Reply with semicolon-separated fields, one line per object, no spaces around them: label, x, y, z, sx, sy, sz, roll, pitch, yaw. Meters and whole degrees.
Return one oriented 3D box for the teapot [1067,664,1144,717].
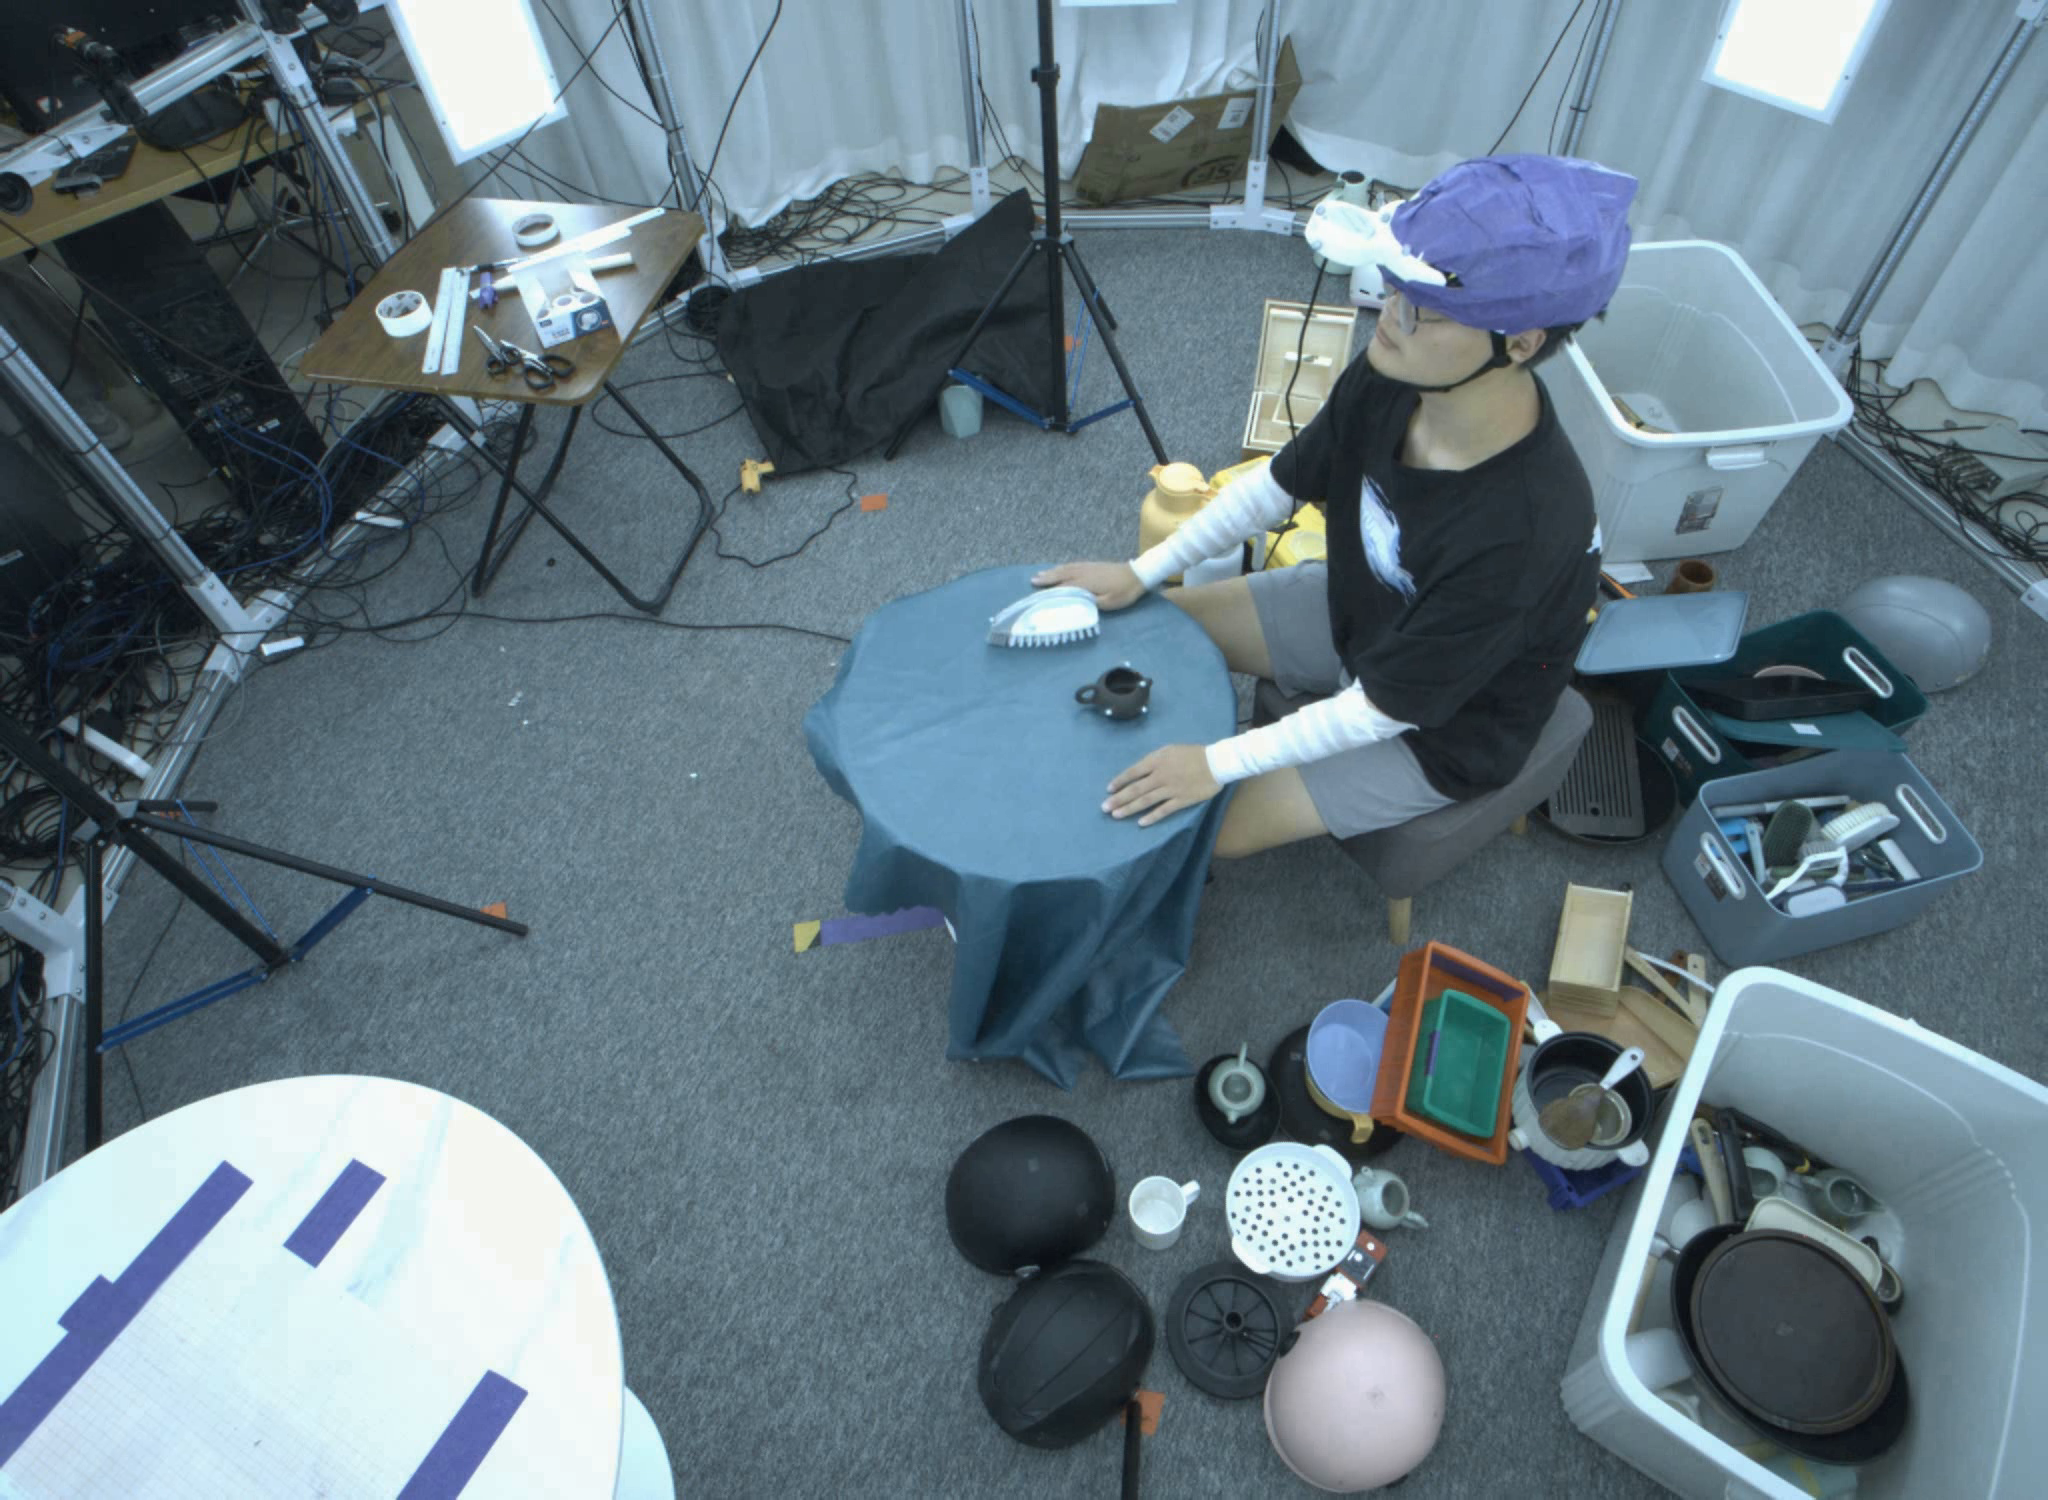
teapot;0.119;-0.087;1.806;0.114;0.053;0.082;-5;55;-4

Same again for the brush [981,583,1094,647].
brush;0.016;-0.207;1.869;0.176;0.095;0.060;-12;51;-4
